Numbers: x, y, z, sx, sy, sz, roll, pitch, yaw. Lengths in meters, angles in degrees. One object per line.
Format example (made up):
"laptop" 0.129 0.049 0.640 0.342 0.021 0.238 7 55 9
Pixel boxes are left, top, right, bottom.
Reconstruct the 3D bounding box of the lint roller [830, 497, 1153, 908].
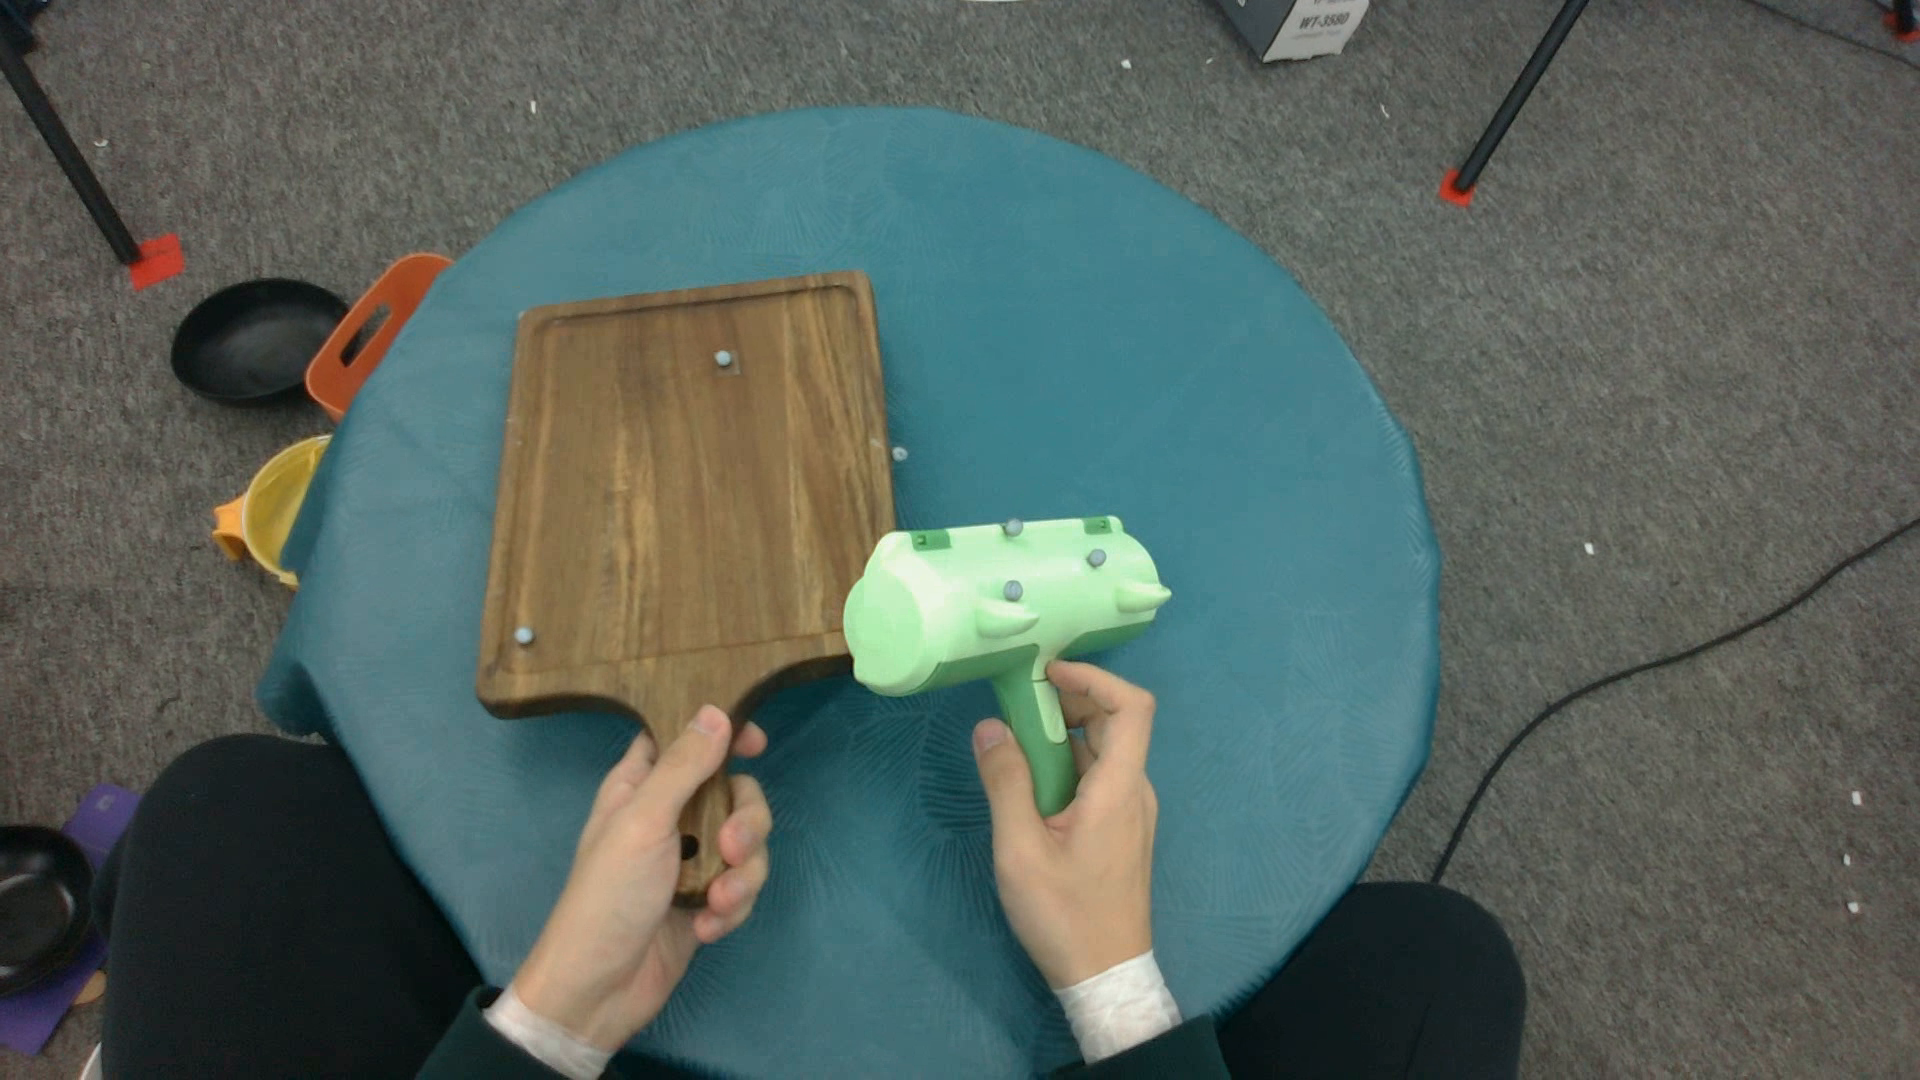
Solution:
"lint roller" 0.039 0.071 0.624 0.199 0.082 0.183 -6 77 -55

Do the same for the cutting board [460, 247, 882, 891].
"cutting board" -0.138 -0.001 0.664 0.201 0.023 0.353 -9 55 -1
